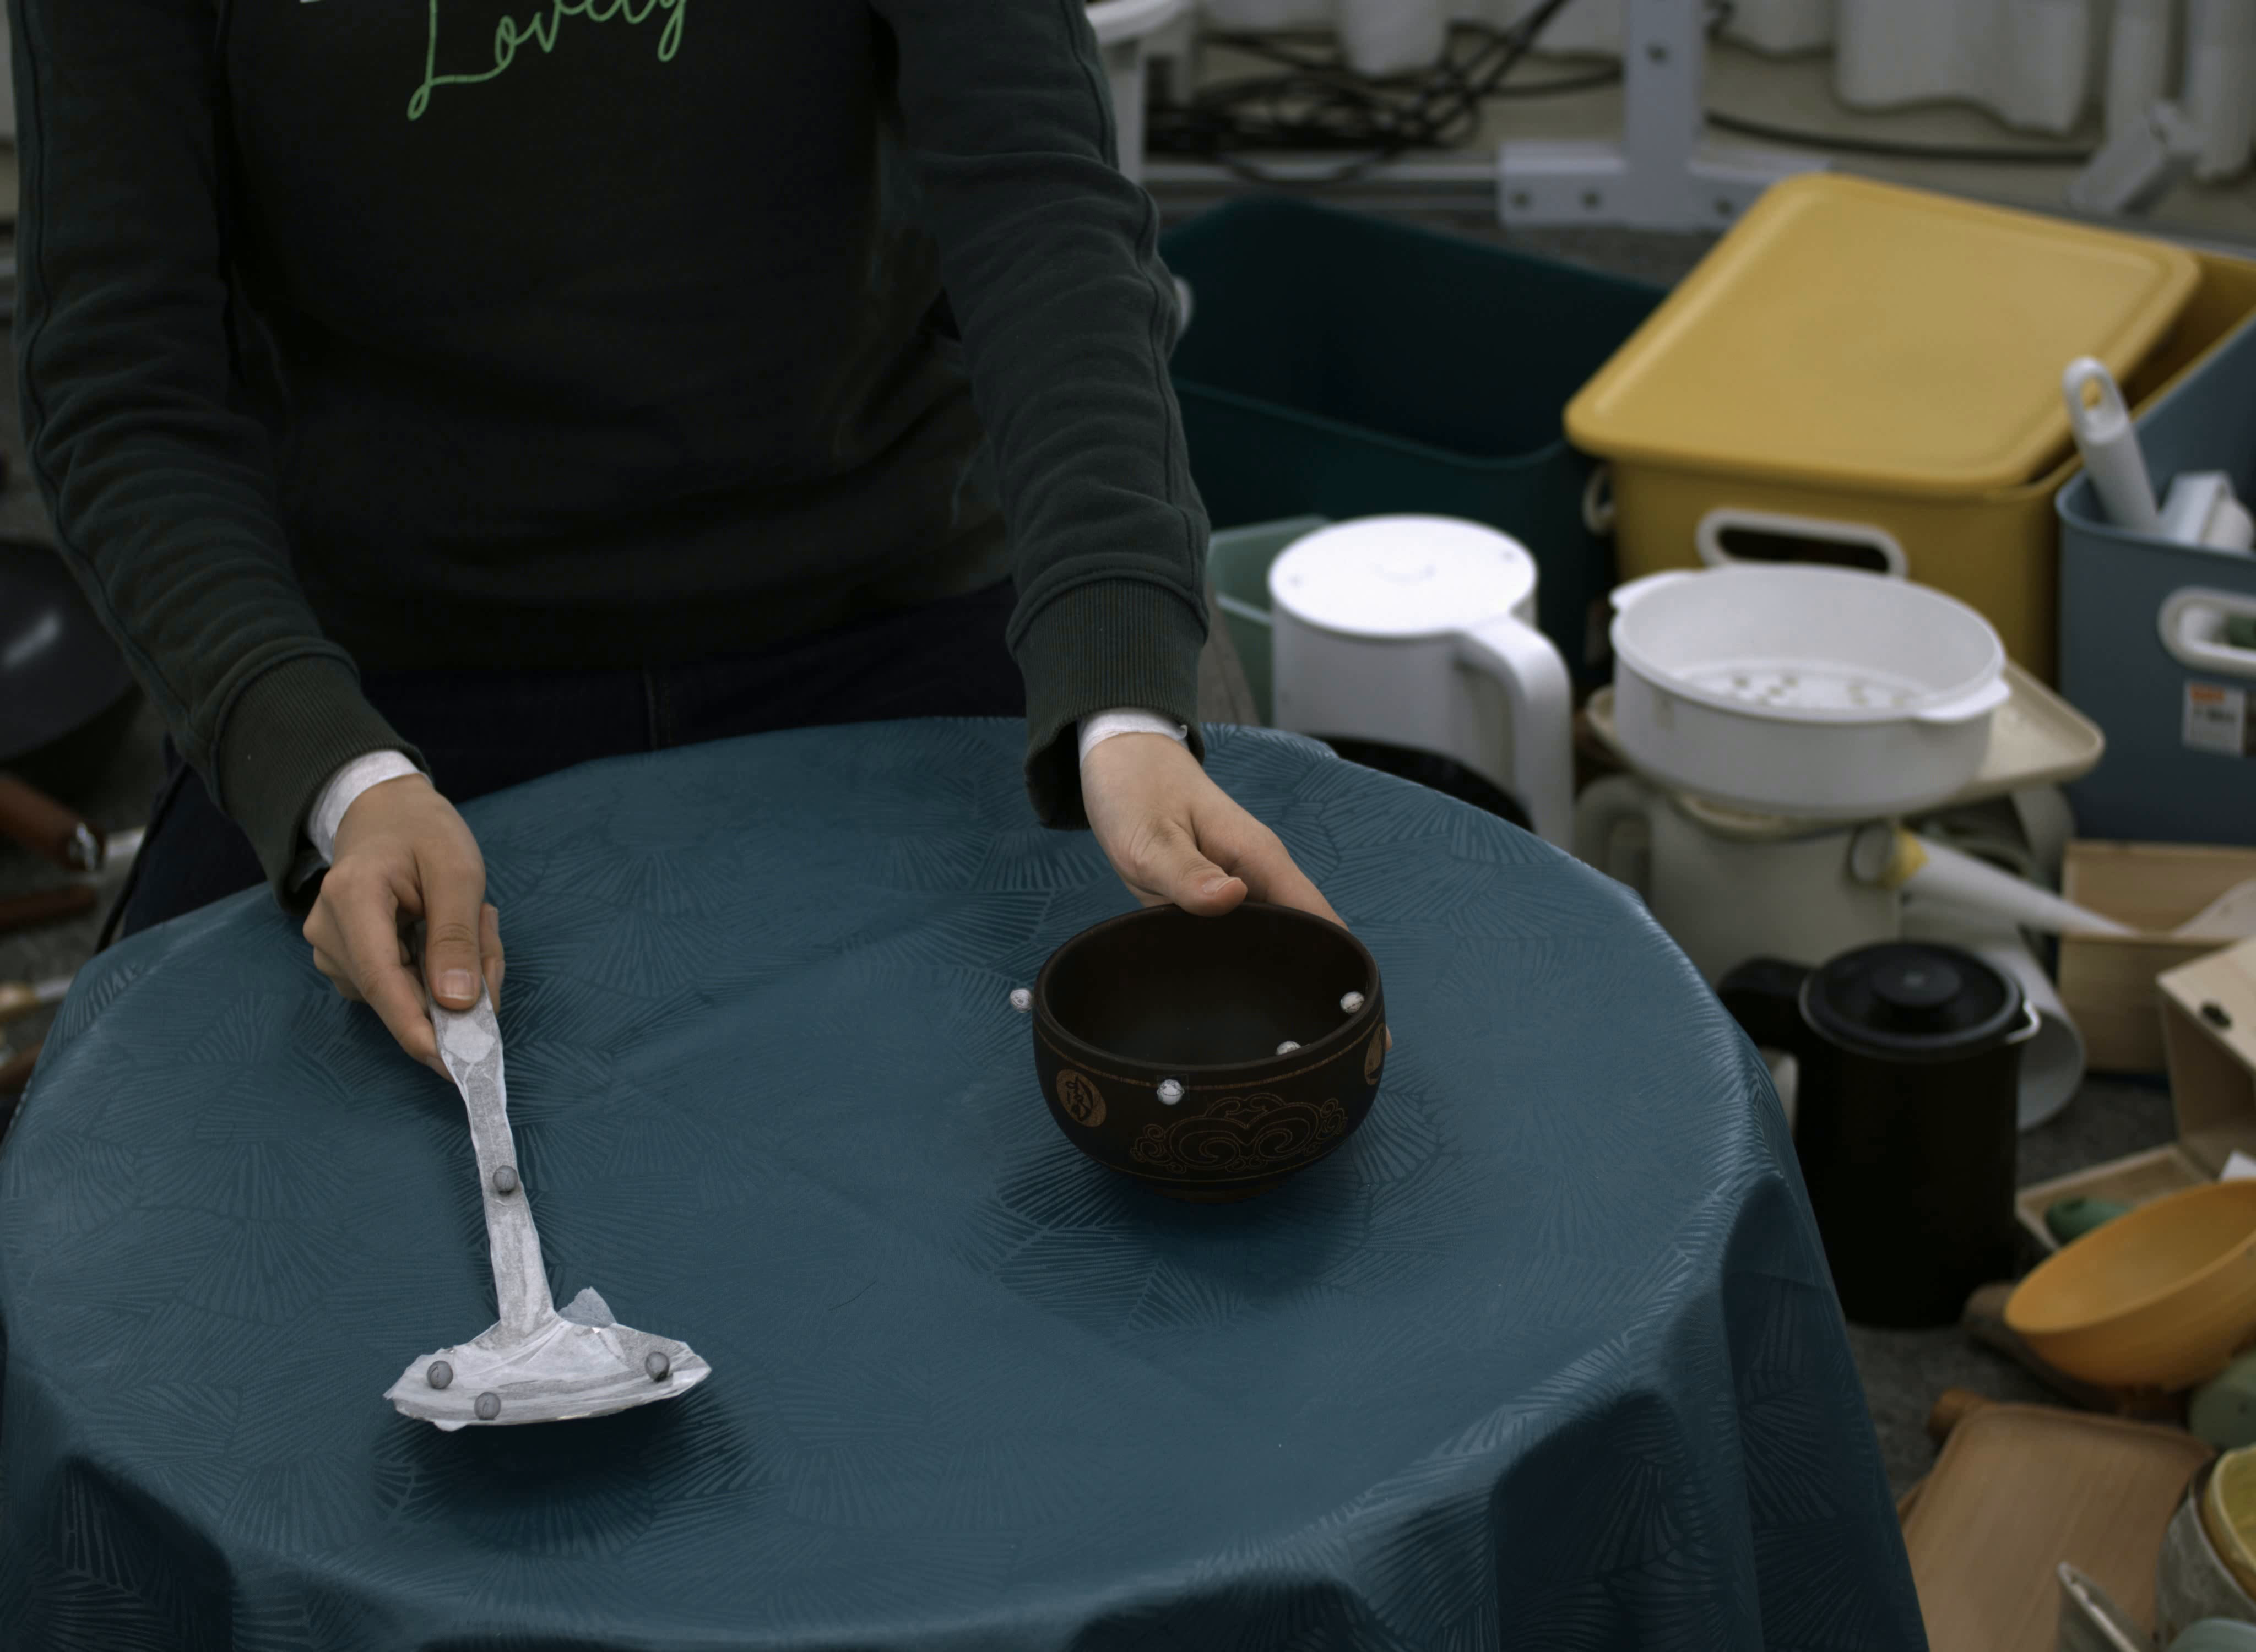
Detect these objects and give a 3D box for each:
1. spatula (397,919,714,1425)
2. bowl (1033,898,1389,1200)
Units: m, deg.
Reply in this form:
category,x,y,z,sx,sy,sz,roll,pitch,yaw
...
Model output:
category,x,y,z,sx,sy,sz,roll,pitch,yaw
spatula,-0.205,0.106,1.859,0.098,0.044,0.369,-7,30,-9
bowl,0.028,0.080,1.861,0.117,0.069,0.120,-1,25,1
